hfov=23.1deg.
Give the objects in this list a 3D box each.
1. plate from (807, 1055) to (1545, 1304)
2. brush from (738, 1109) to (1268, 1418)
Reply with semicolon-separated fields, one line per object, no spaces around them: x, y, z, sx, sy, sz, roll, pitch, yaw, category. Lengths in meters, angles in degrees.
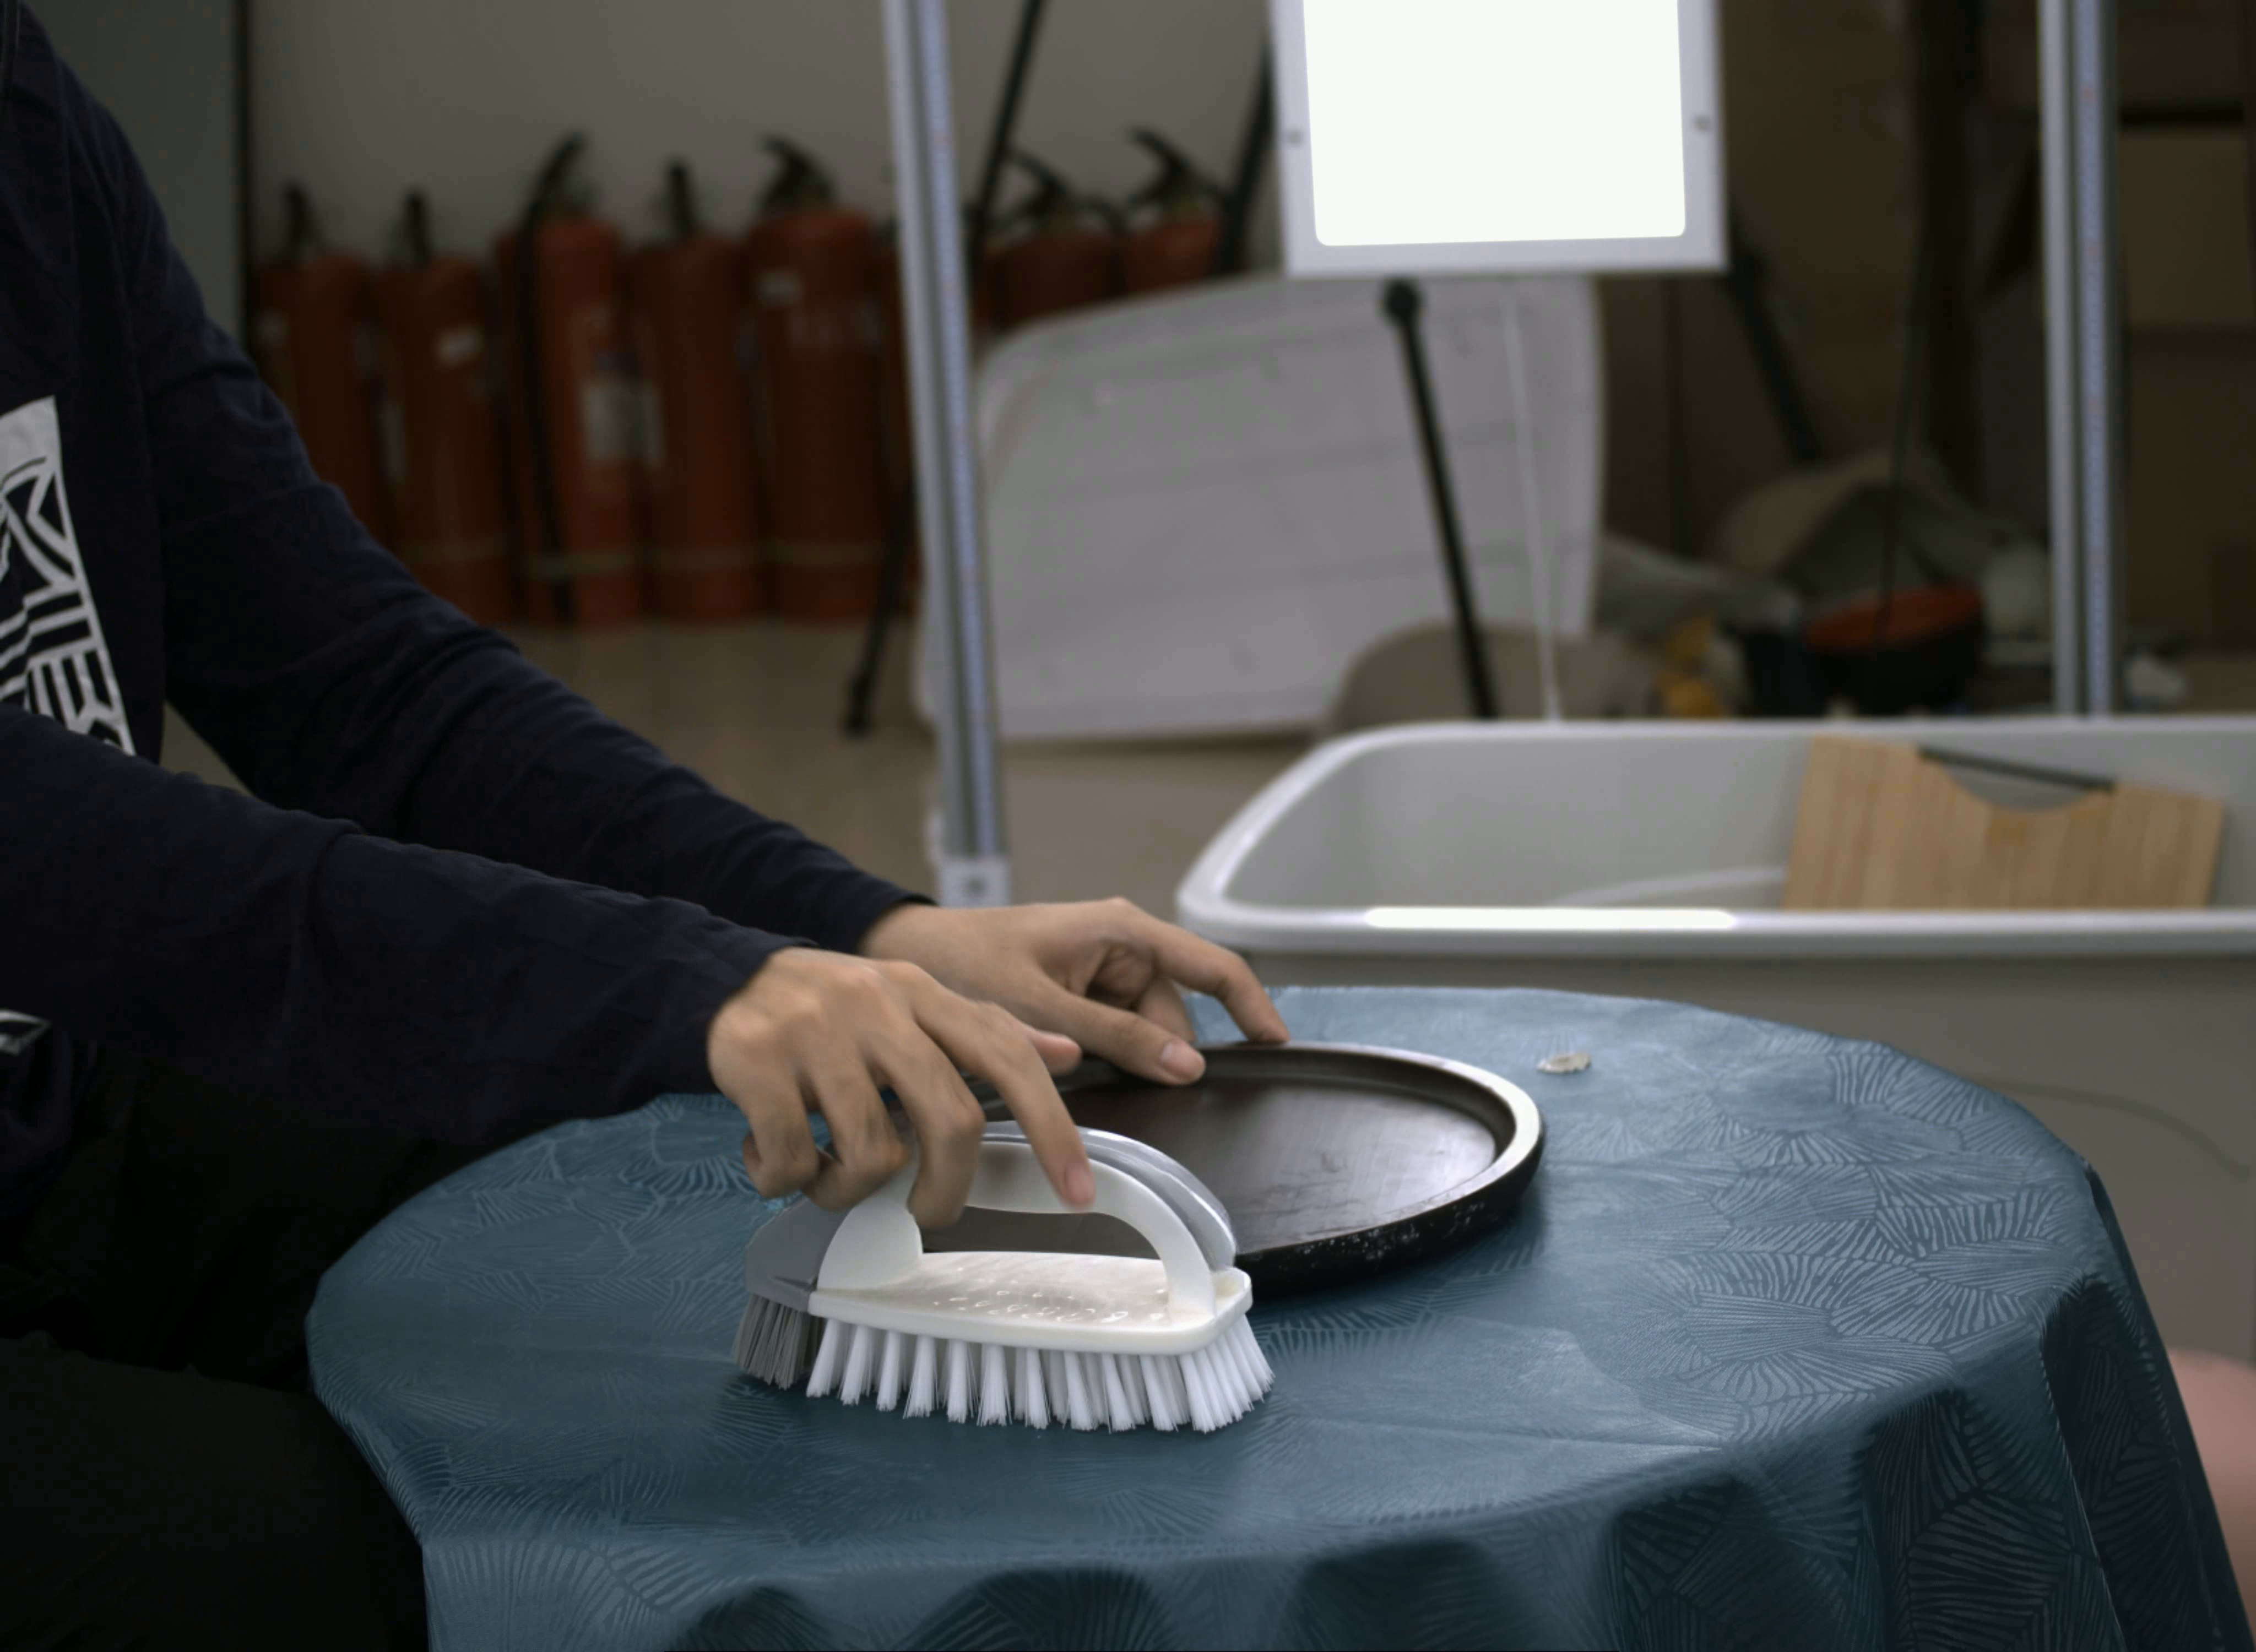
0.017;0.119;1.878;0.254;0.029;0.254;-4;14;0;plate
-0.047;0.134;1.694;0.178;0.094;0.060;-1;14;27;brush
